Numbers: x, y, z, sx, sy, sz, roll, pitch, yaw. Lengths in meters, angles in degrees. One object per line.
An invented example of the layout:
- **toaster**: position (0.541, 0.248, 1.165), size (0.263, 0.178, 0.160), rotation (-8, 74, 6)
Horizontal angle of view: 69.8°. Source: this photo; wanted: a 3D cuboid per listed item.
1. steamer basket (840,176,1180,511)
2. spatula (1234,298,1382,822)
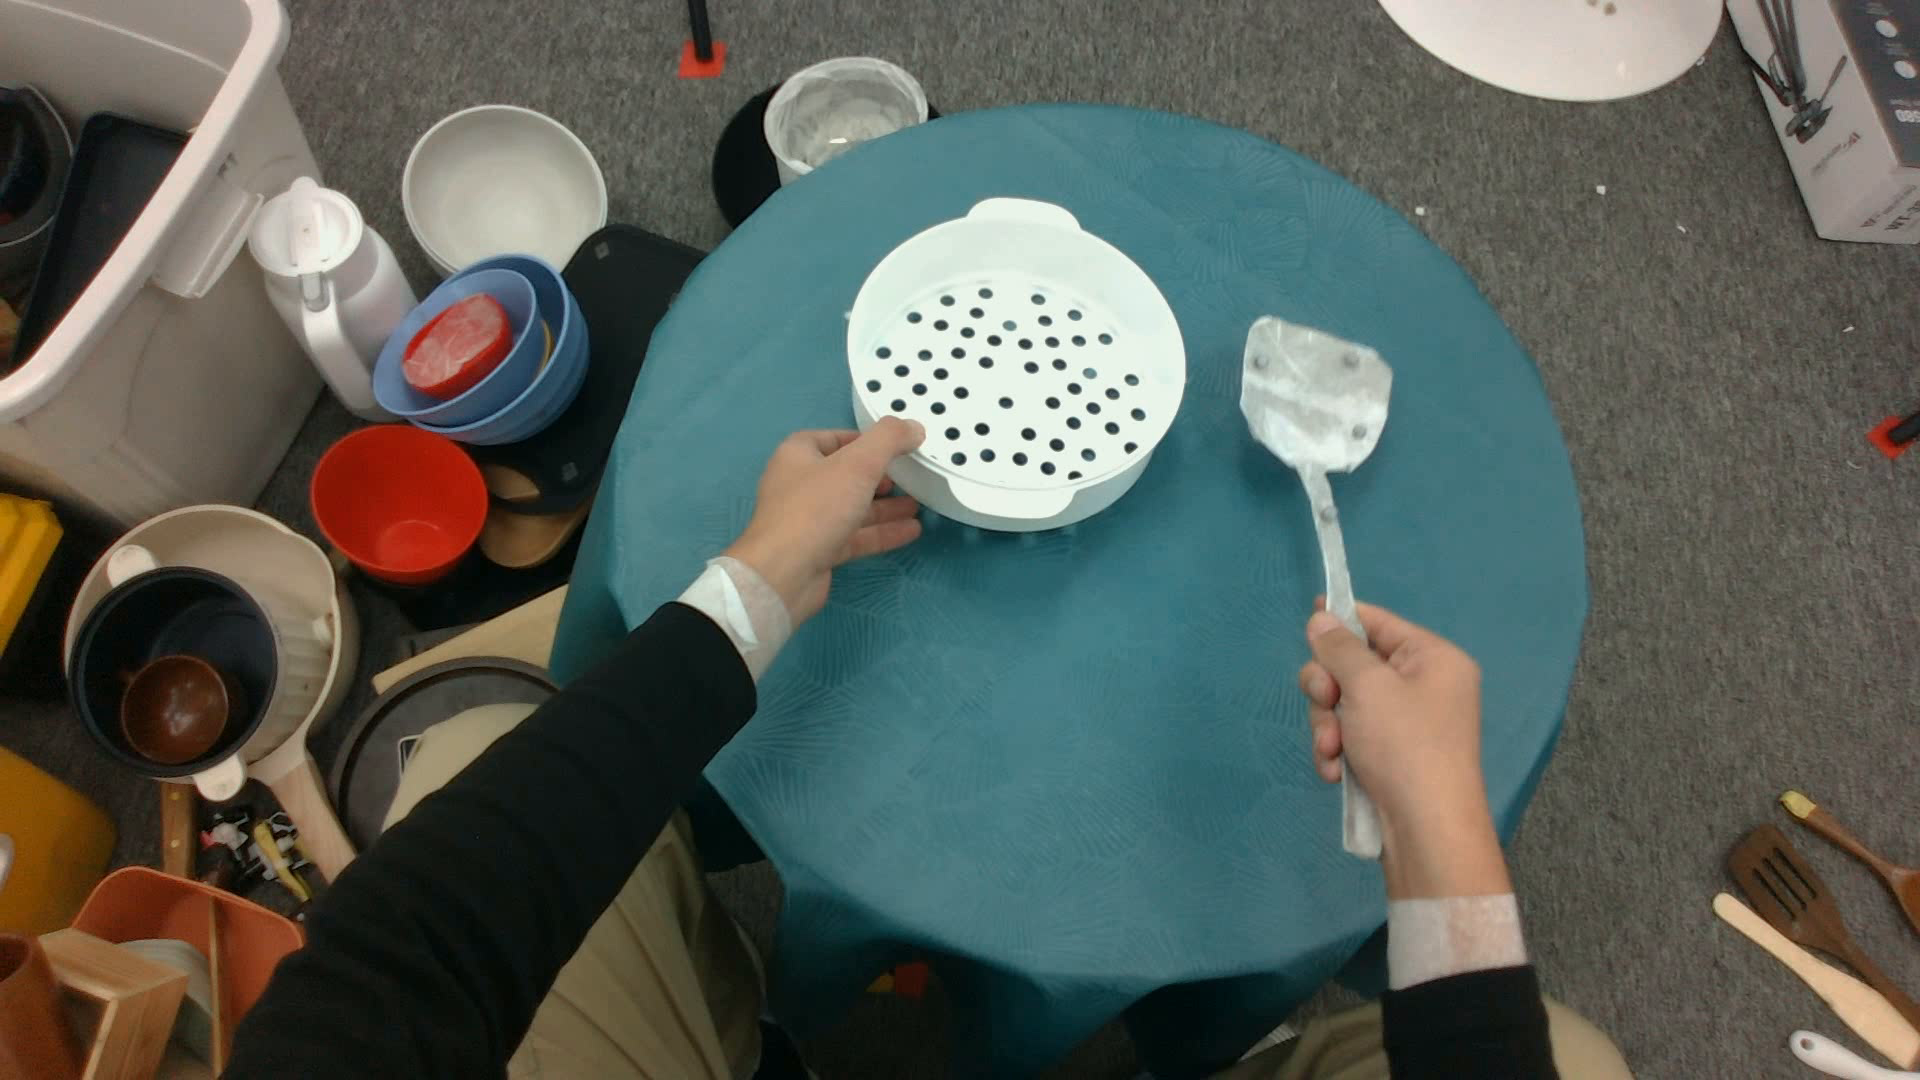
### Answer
- **steamer basket**: position (0.028, -0.113, 0.836), size (0.202, 0.069, 0.231), rotation (6, 62, -3)
- **spatula**: position (0.195, -0.006, 0.743), size (0.099, 0.044, 0.367), rotation (20, 42, -10)
